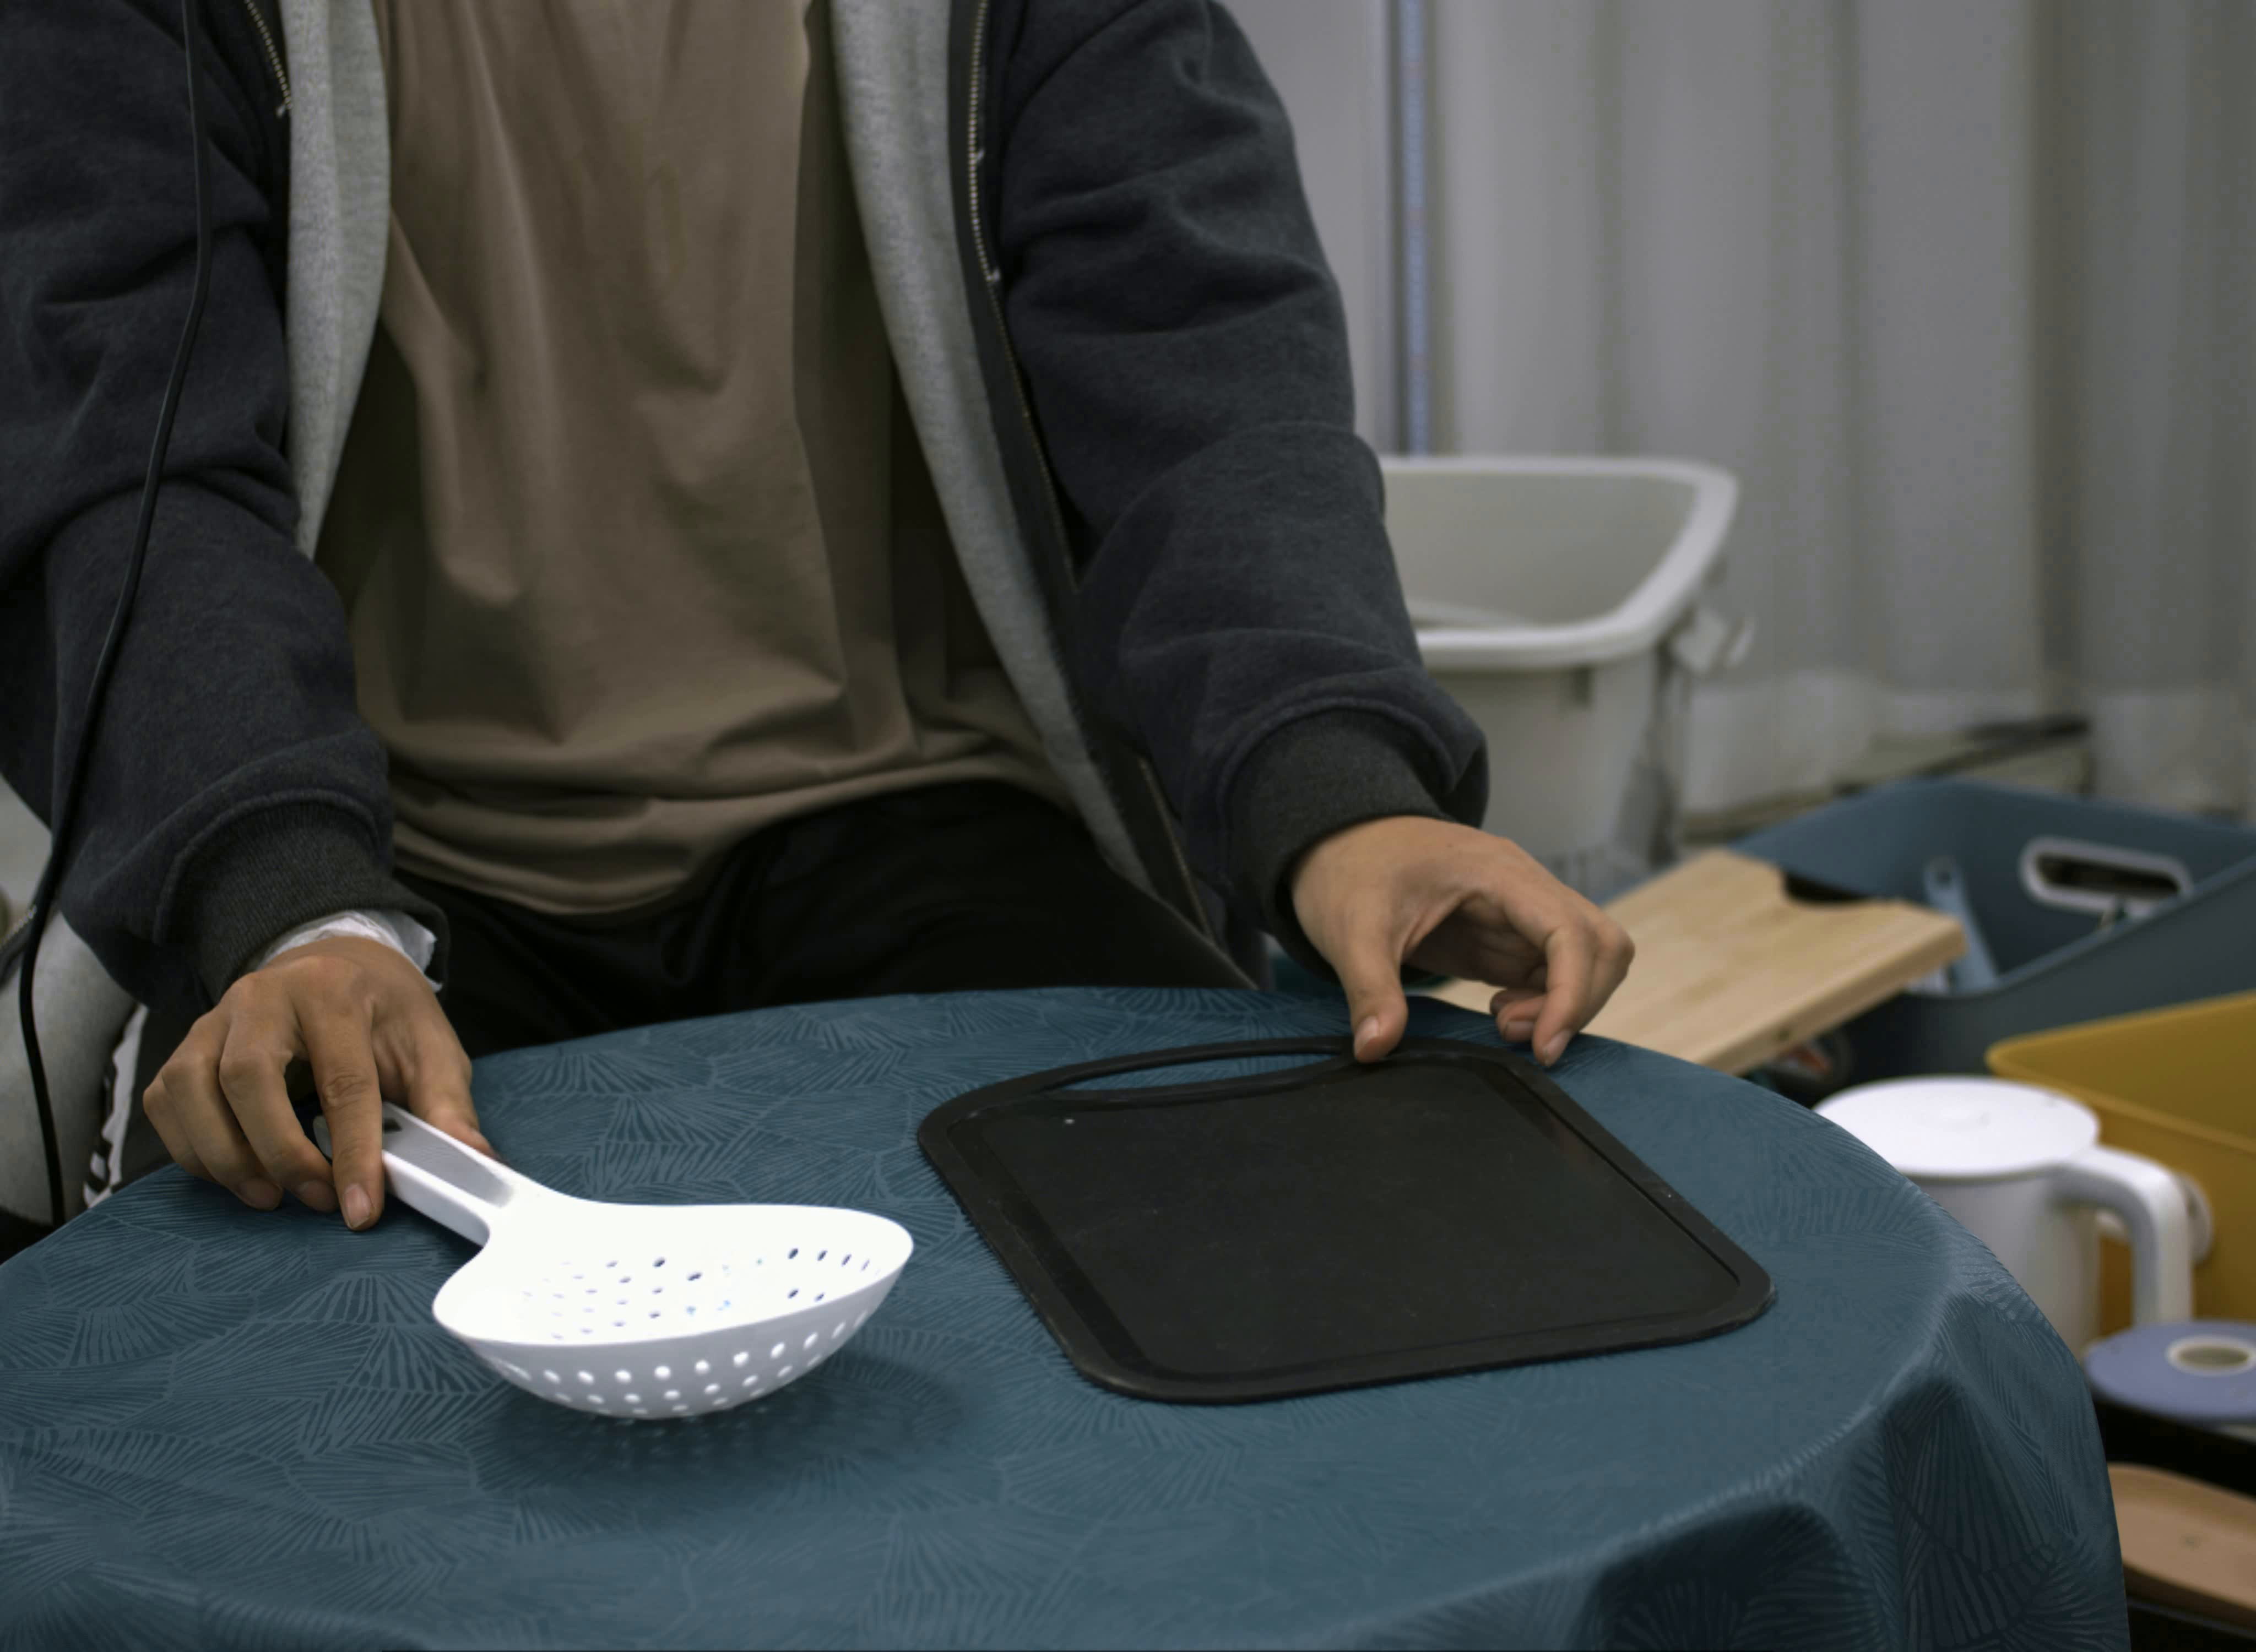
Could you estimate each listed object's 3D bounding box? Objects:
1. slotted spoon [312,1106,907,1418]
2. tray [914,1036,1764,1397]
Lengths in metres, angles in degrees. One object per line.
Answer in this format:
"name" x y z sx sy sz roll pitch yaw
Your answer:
"slotted spoon" -0.178 0.121 1.641 0.135 0.045 0.352 -11 16 -26
"tray" 0.055 0.114 1.696 0.210 0.010 0.328 -6 15 -13
